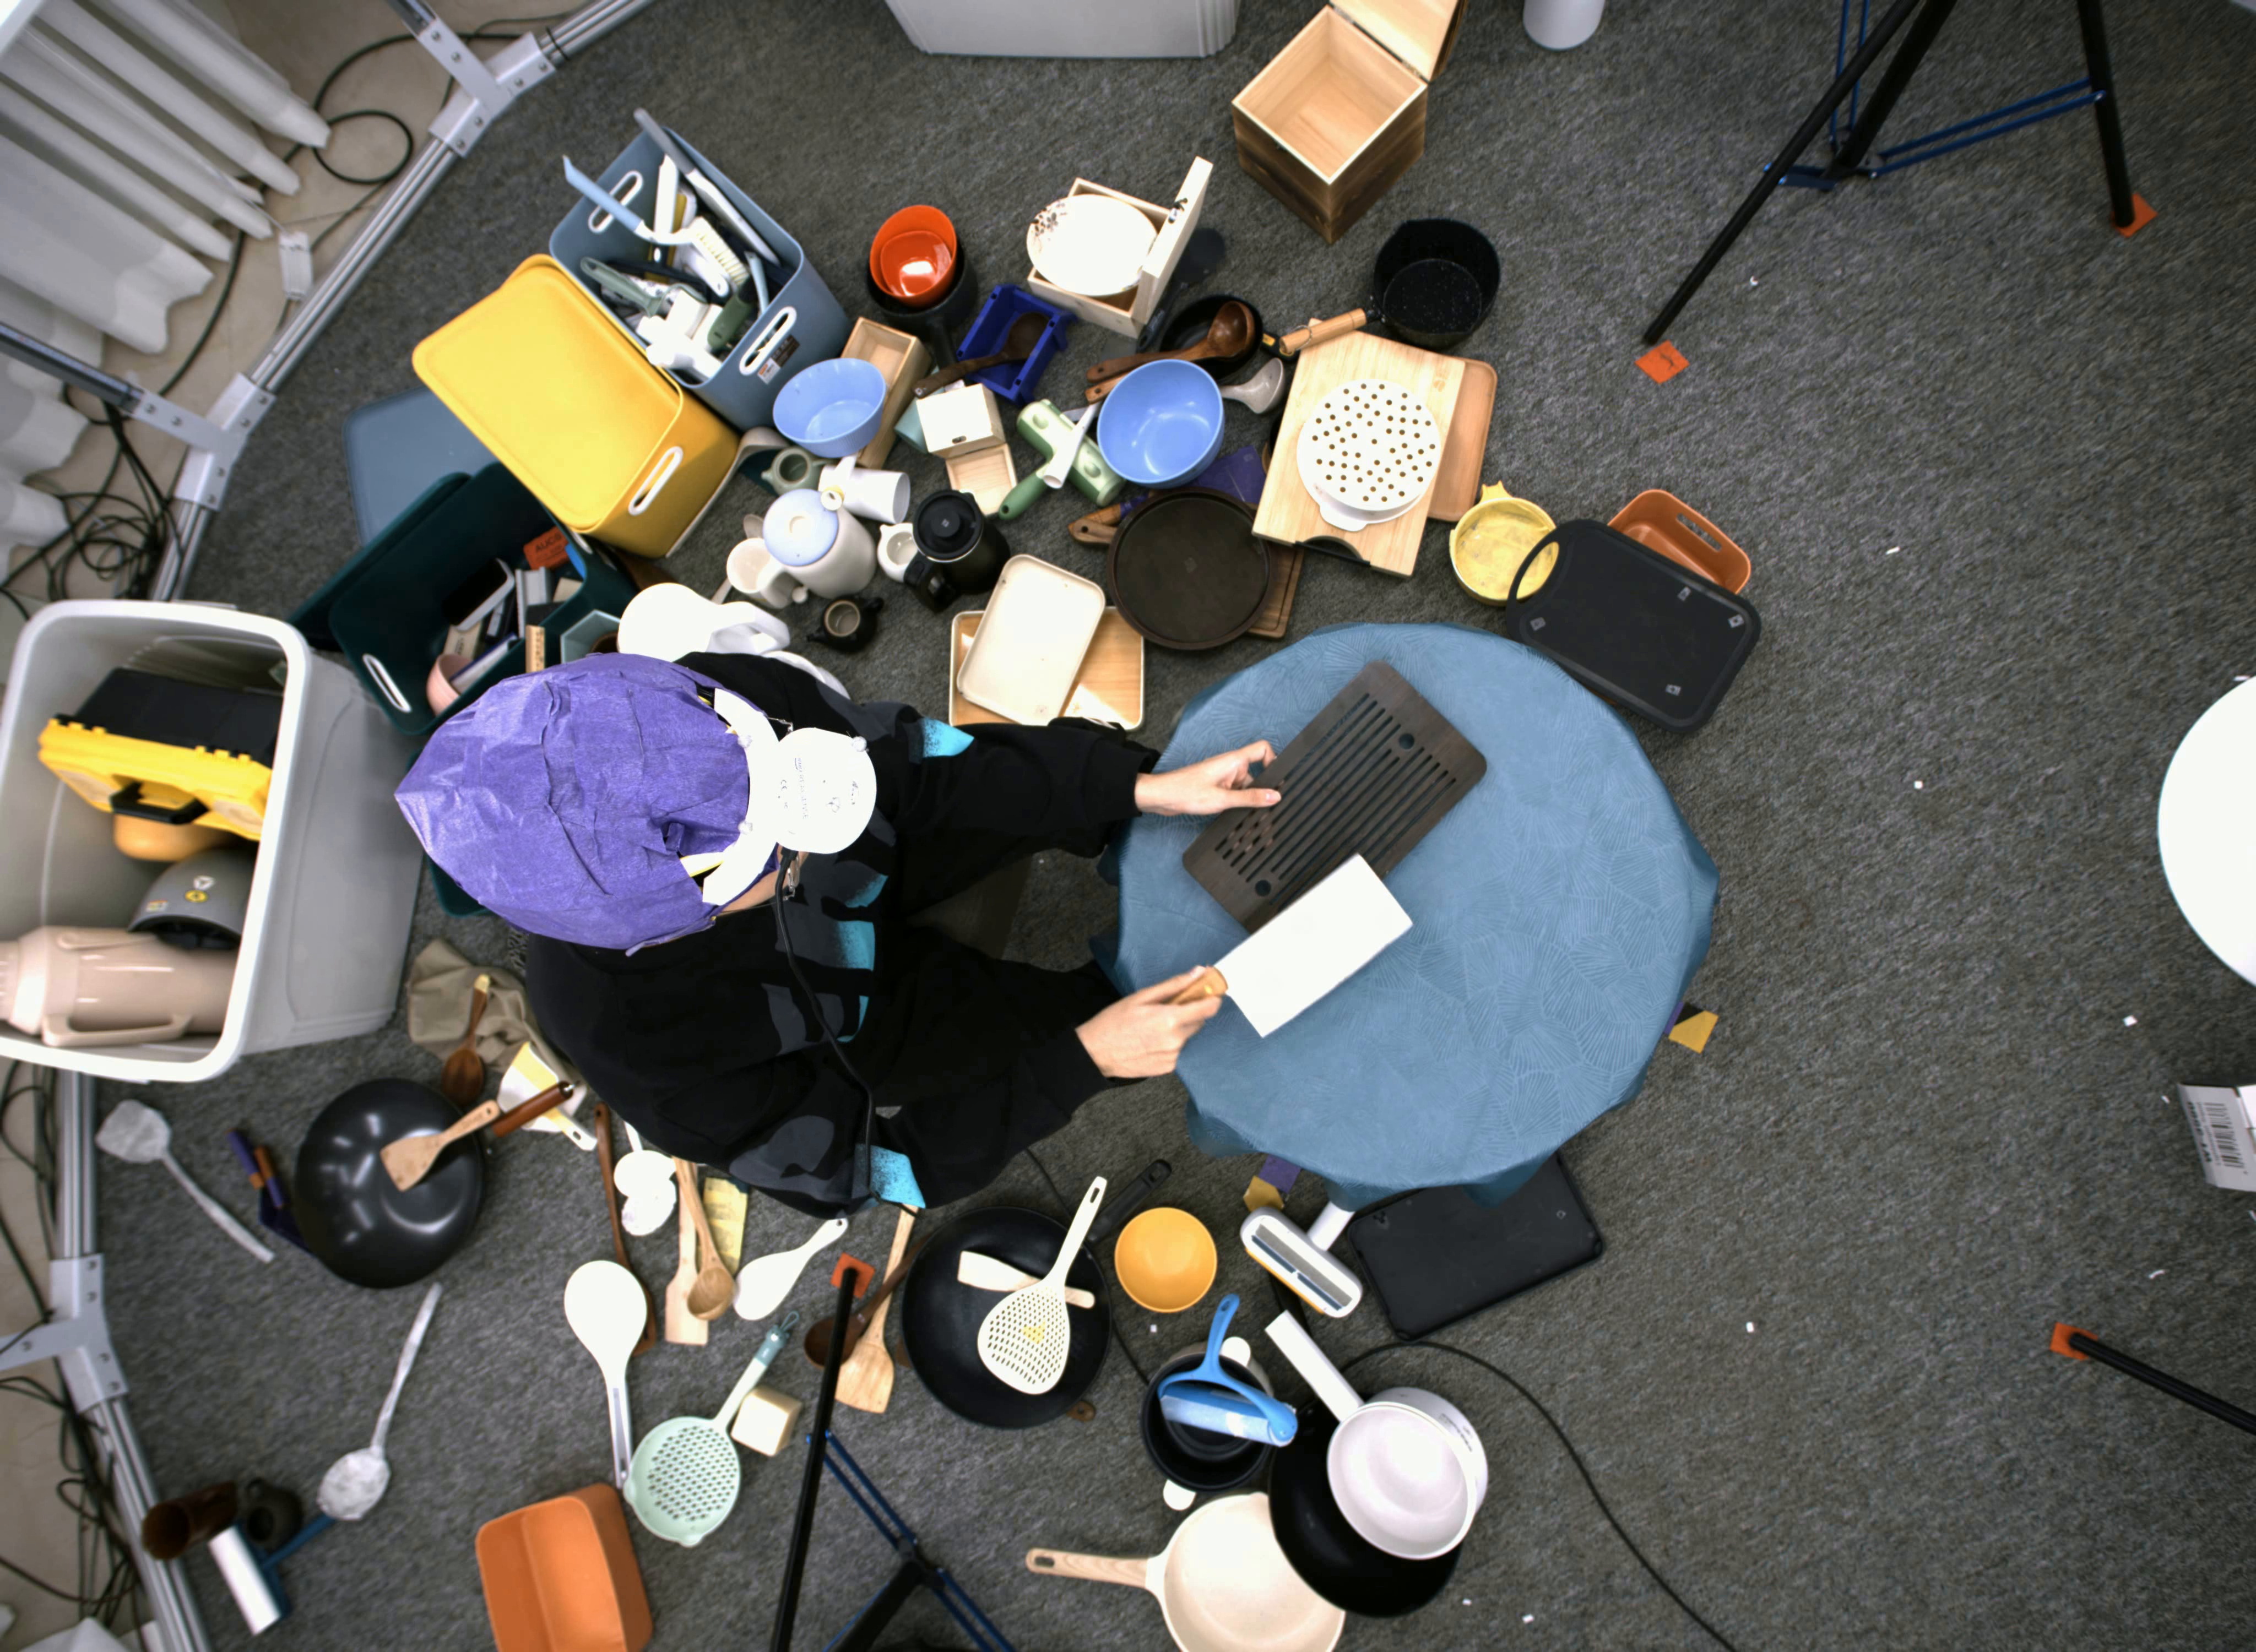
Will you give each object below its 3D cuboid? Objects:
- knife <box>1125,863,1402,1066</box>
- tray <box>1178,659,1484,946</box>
[{"bbox_3d":[0.139,0.157,1.387,0.308,0.021,0.093,-37,102,8],"label":"knife"},{"bbox_3d":[0.213,-0.015,1.453,0.170,0.018,0.307,45,95,0],"label":"tray"}]
